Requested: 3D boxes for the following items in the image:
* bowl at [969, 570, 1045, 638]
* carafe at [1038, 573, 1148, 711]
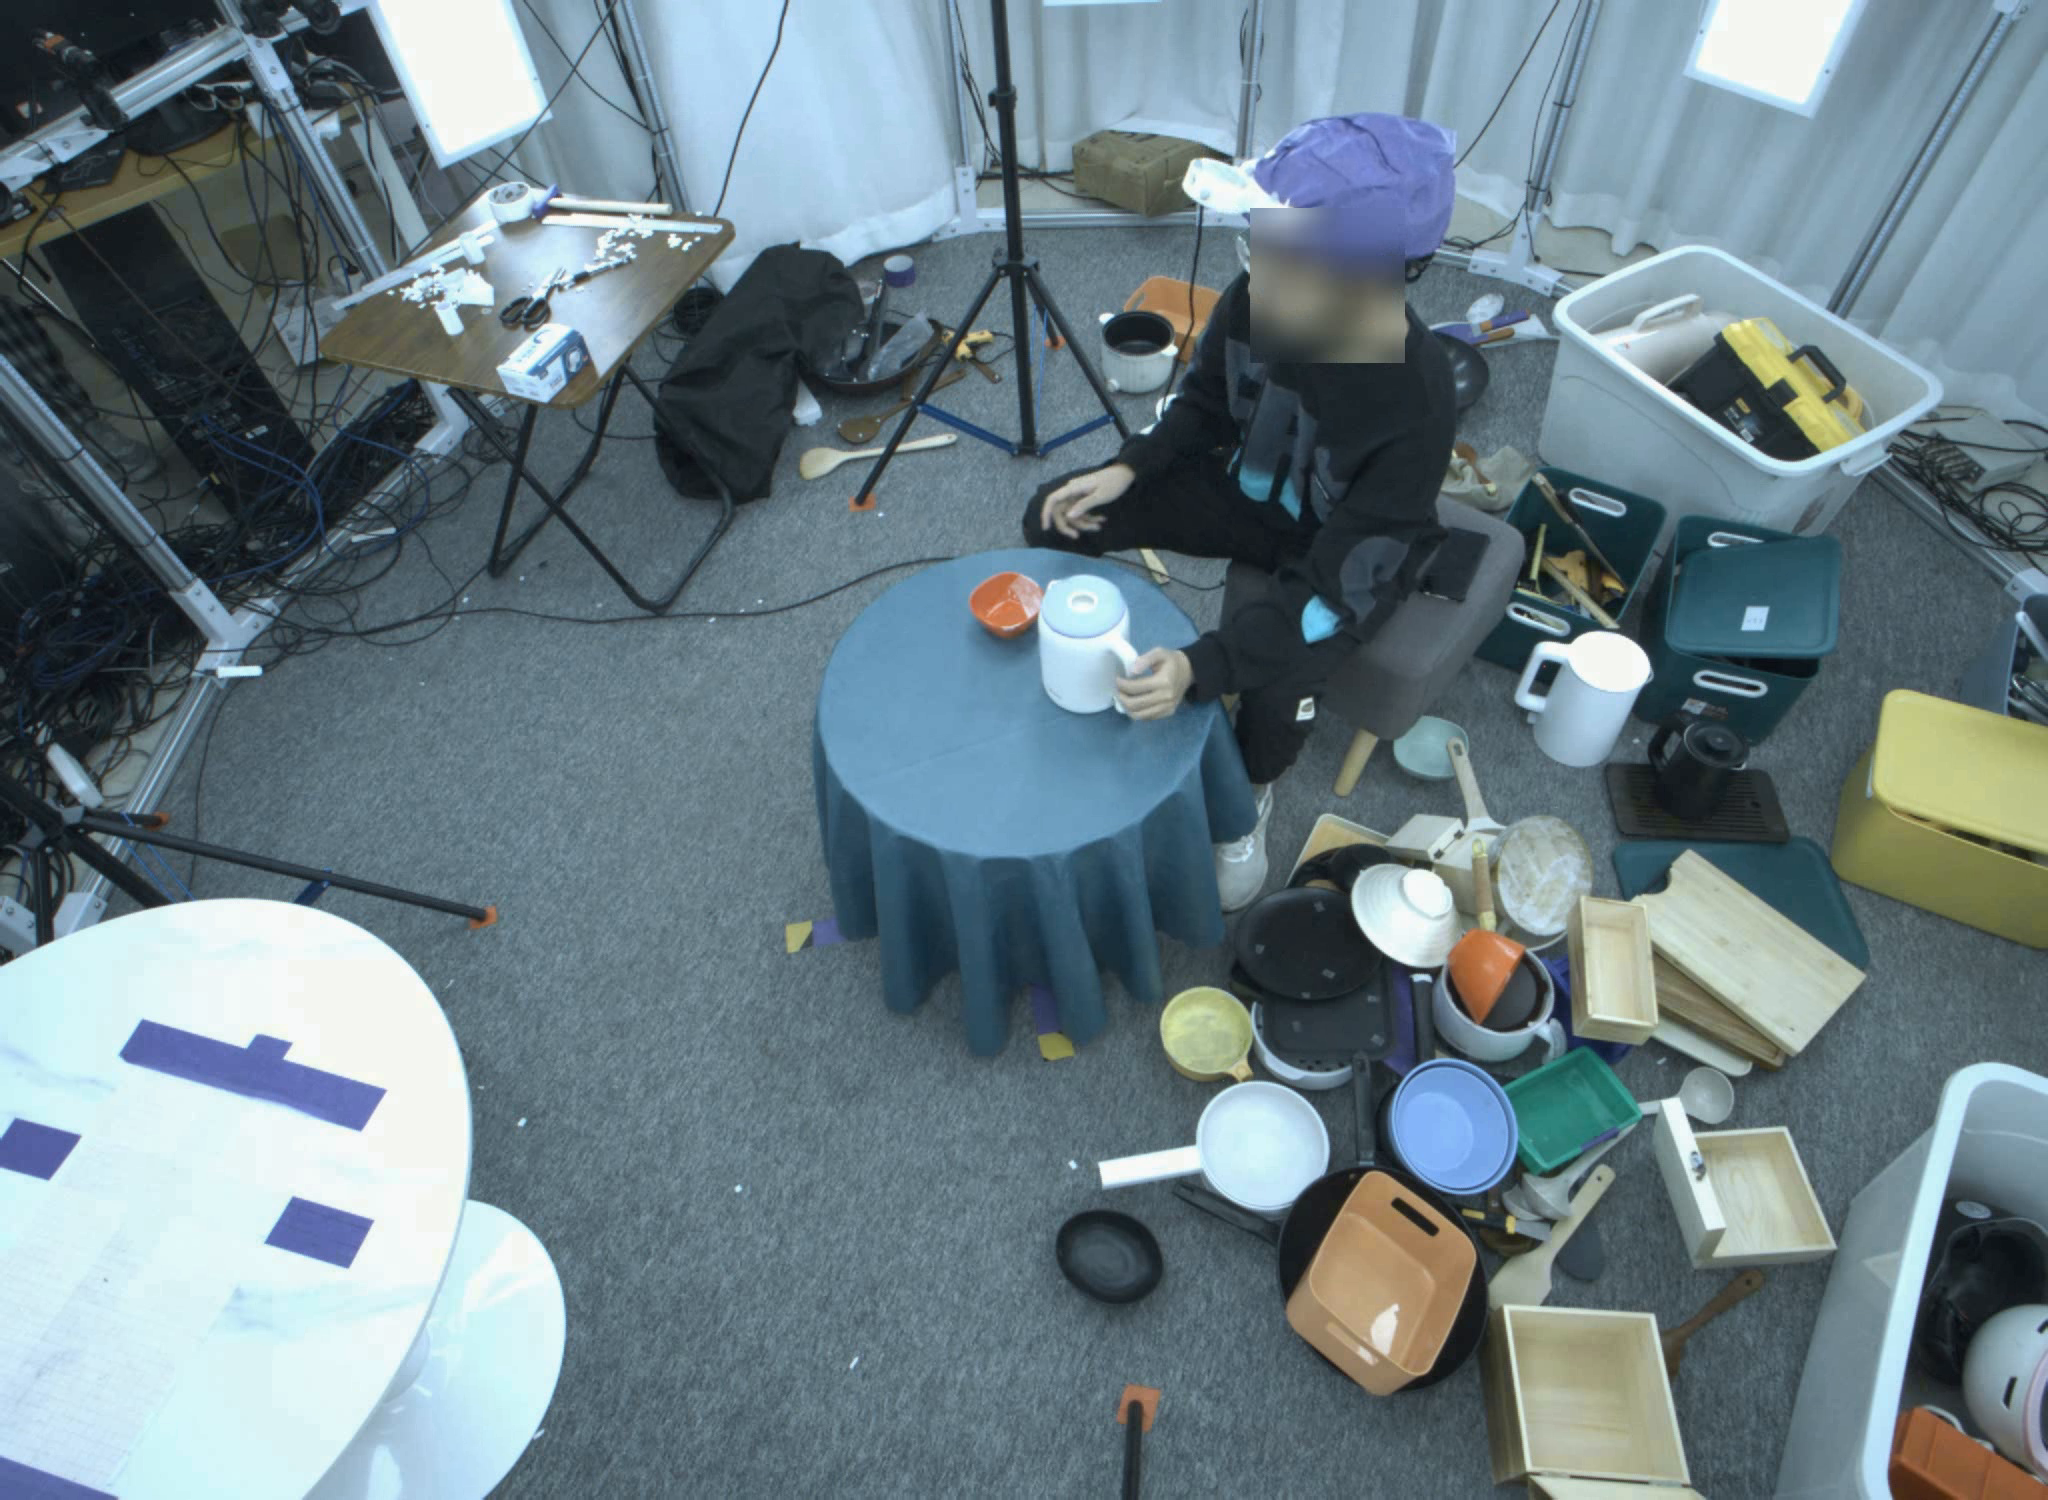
[{"bbox_3d":[-0.025,-0.220,1.907,0.118,0.052,0.118,-2,55,4],"label":"bowl"},{"bbox_3d":[0.105,-0.141,1.775,0.133,0.184,0.188,-40,64,-21],"label":"carafe"}]
